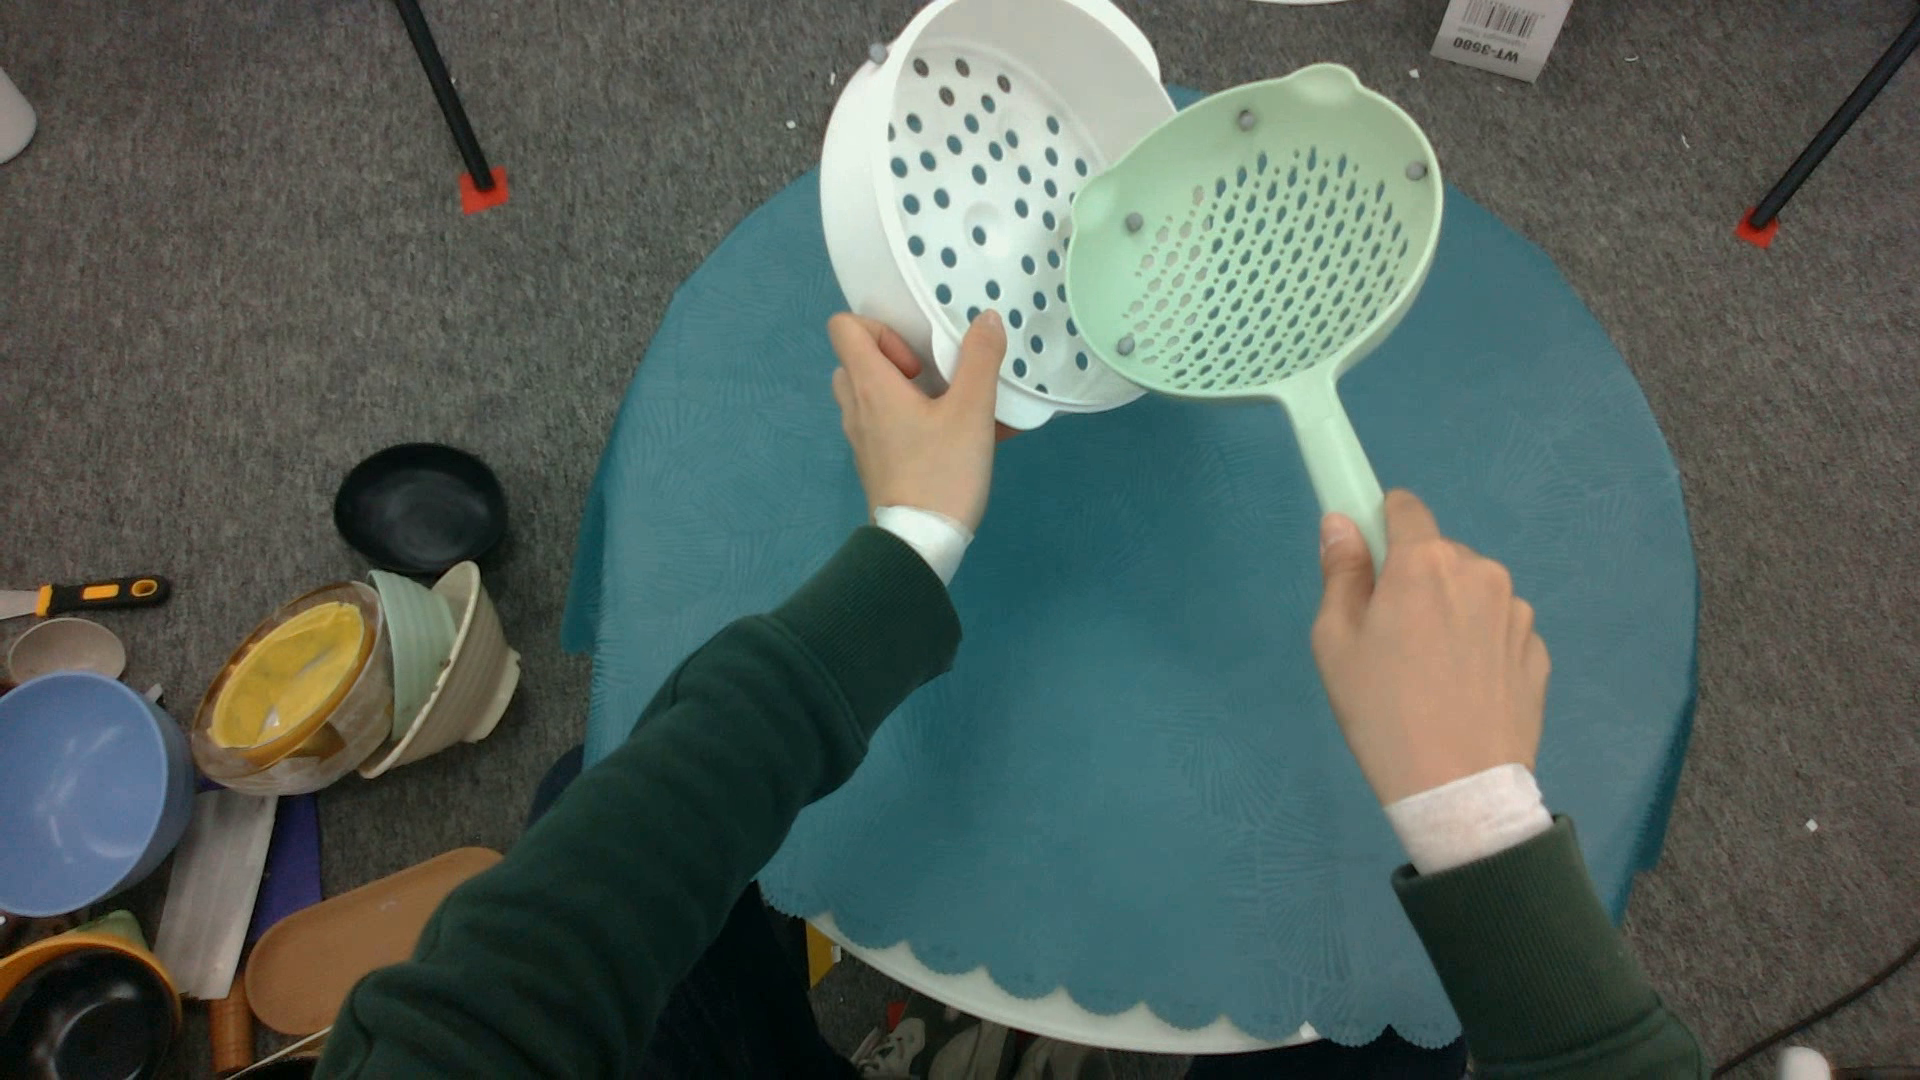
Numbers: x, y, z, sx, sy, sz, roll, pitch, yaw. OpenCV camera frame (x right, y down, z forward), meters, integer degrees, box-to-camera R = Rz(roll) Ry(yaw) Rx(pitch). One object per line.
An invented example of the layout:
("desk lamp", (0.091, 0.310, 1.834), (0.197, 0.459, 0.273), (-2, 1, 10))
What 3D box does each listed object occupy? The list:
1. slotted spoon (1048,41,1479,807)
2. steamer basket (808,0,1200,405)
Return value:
("slotted spoon", (0.141, -0.064, 0.573), (0.169, 0.075, 0.360), (-23, 49, 17))
("steamer basket", (0.022, -0.168, 0.663), (0.202, 0.069, 0.231), (29, 67, -30))
